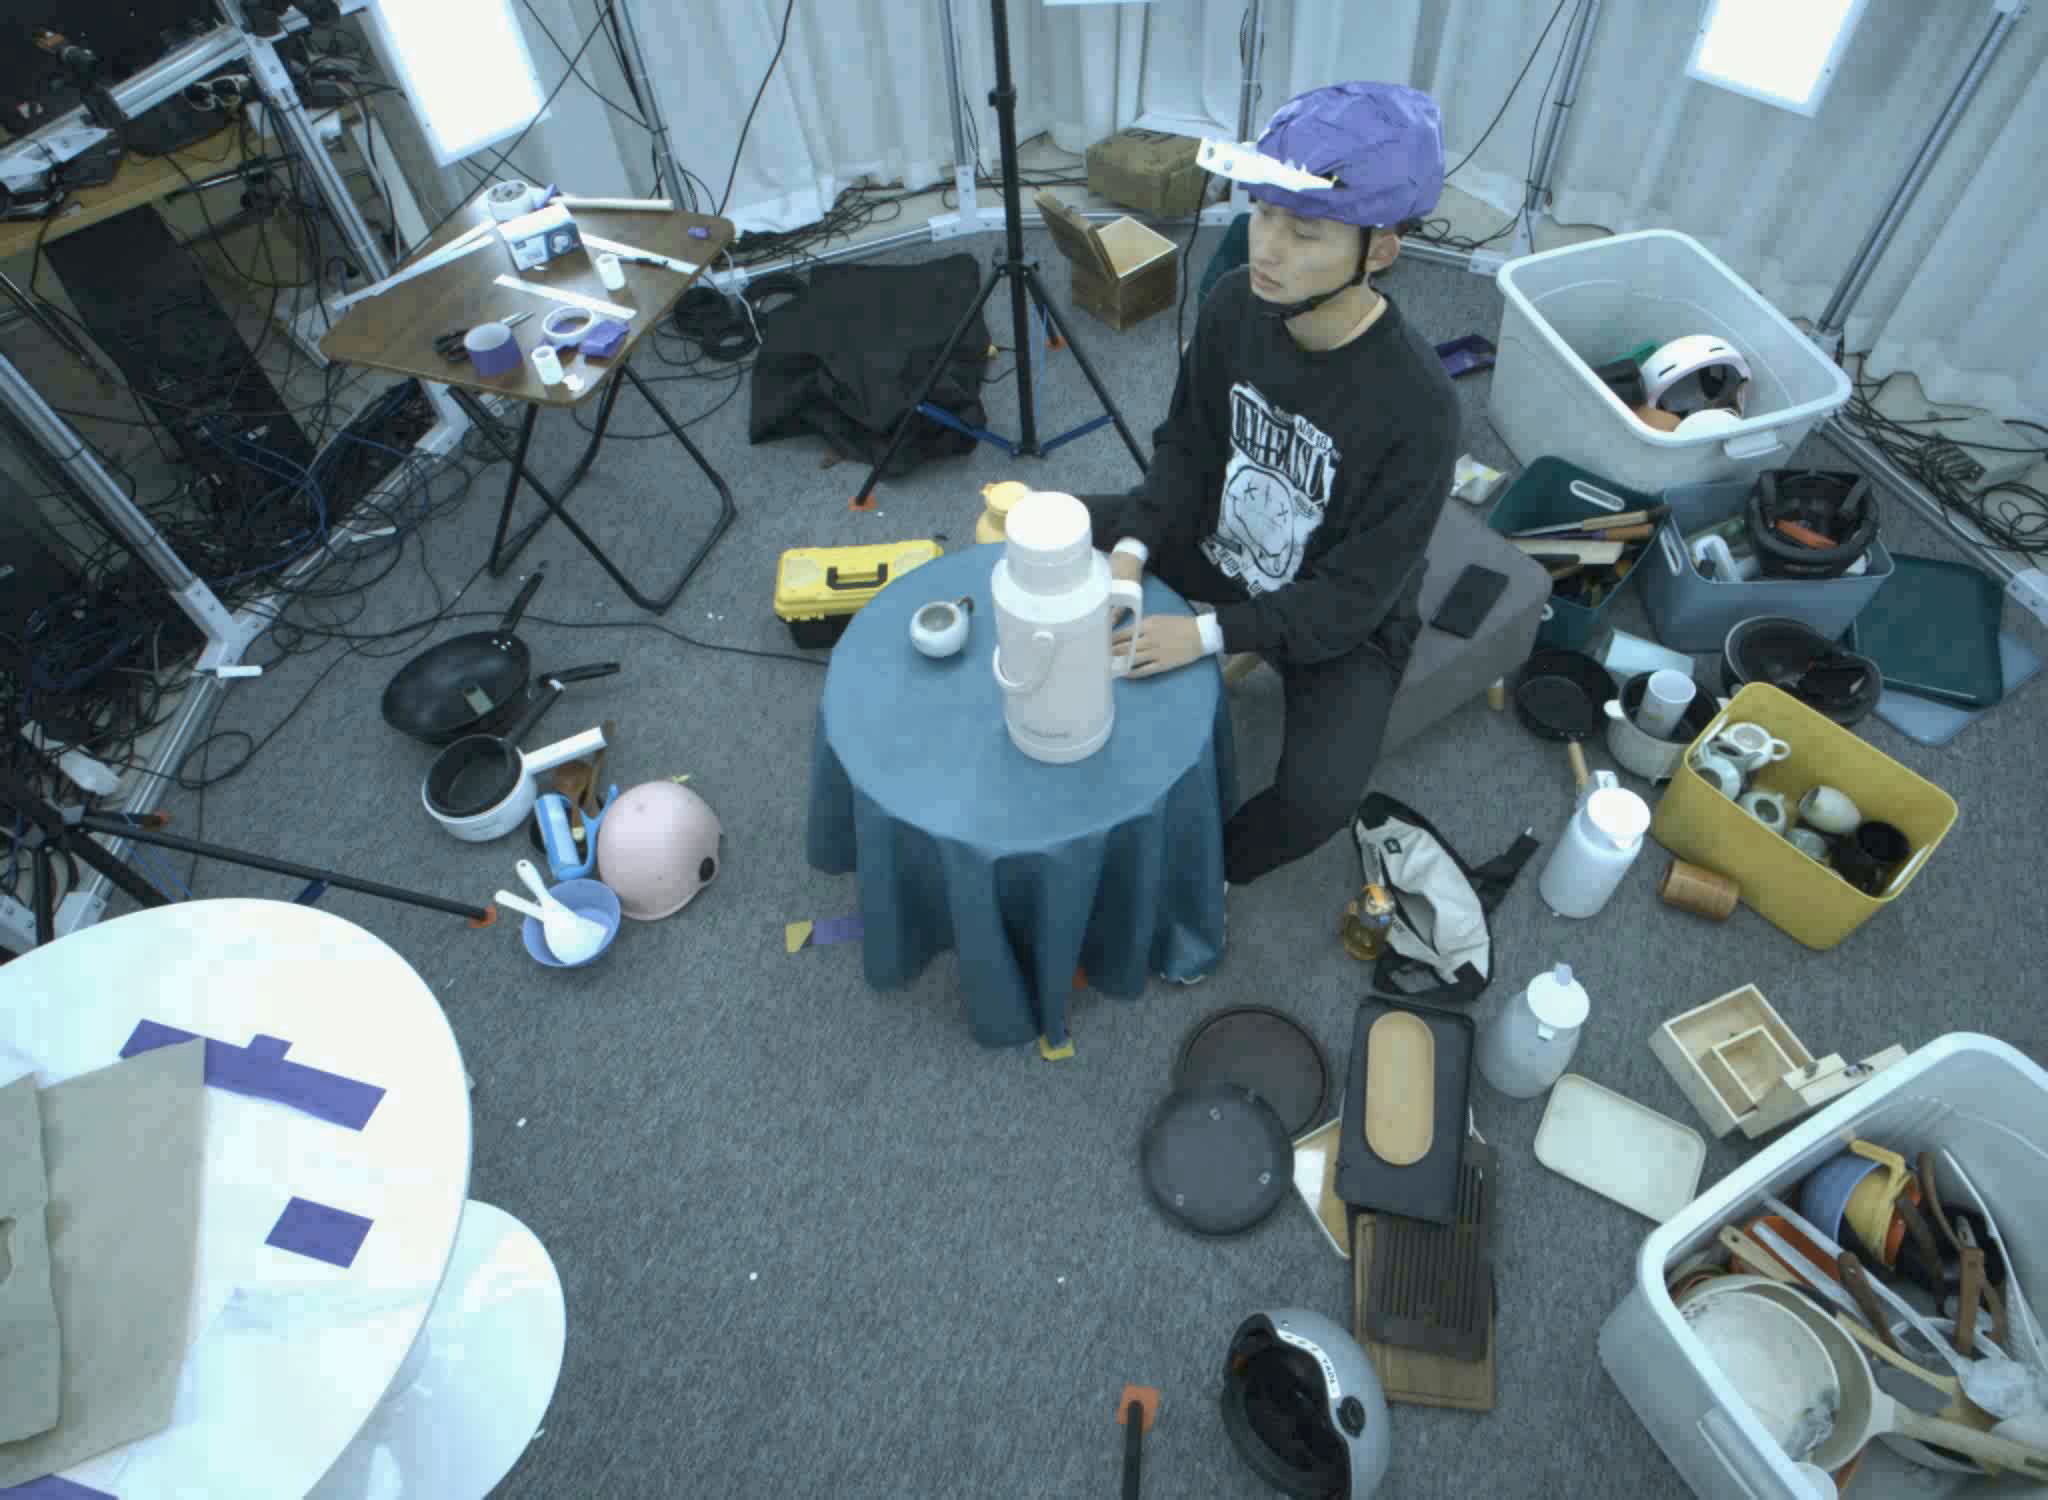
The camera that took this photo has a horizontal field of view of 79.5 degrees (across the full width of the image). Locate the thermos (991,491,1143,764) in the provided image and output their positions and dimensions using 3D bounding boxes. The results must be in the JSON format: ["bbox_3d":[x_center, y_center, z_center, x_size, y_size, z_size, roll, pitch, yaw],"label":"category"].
[{"bbox_3d":[0.055,-0.159,1.650,0.206,0.411,0.174,3,53,7],"label":"thermos"}]

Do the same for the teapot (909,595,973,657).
[{"bbox_3d":[-0.125,-0.191,1.887,0.090,0.060,0.129,31,62,28],"label":"teapot"}]
